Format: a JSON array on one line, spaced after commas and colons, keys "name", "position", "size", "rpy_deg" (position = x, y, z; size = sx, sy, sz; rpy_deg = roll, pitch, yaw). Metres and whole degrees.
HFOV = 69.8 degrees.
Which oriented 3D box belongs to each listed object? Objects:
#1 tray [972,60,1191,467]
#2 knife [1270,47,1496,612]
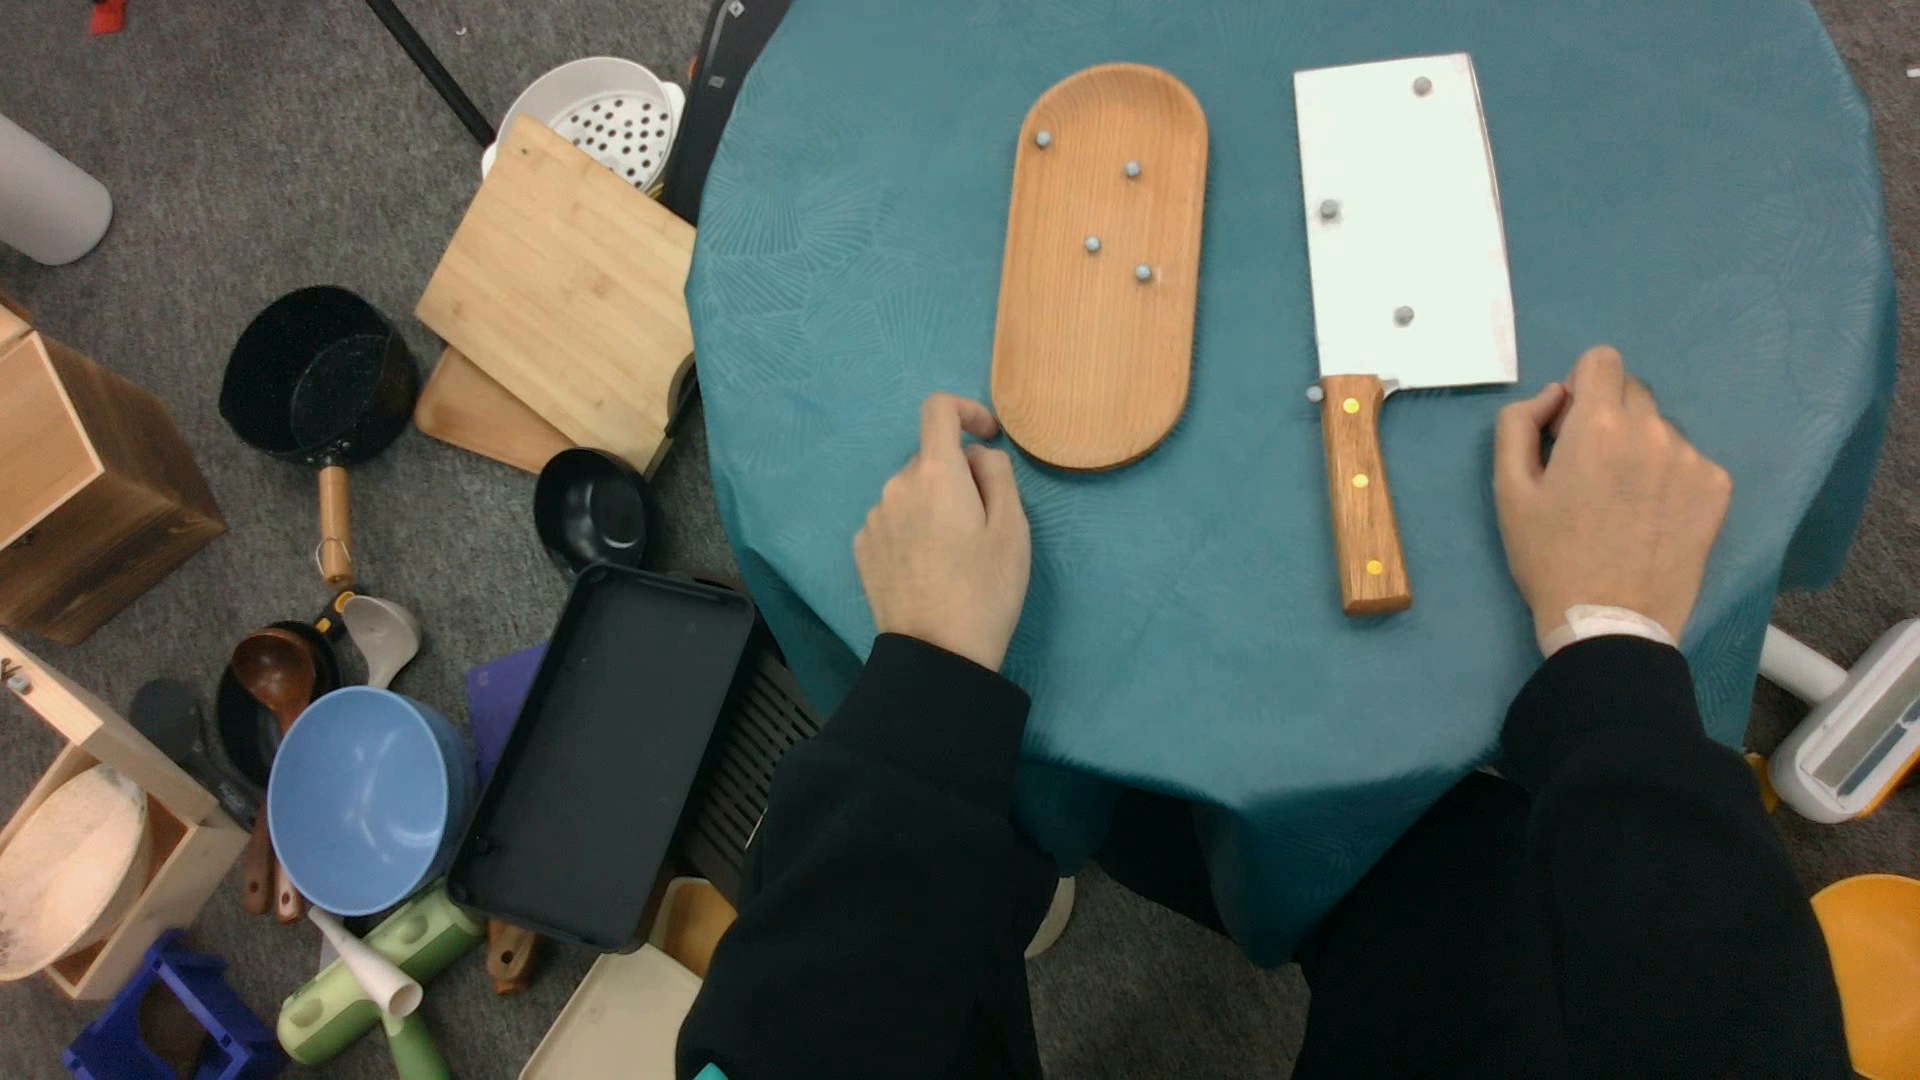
[{"name": "tray", "position": [0.064, -0.146, 0.709], "size": [0.101, 0.020, 0.232], "rpy_deg": [3, 73, 12]}, {"name": "knife", "position": [0.209, -0.114, 0.671], "size": [0.093, 0.021, 0.306], "rpy_deg": [-4, 69, 8]}]
